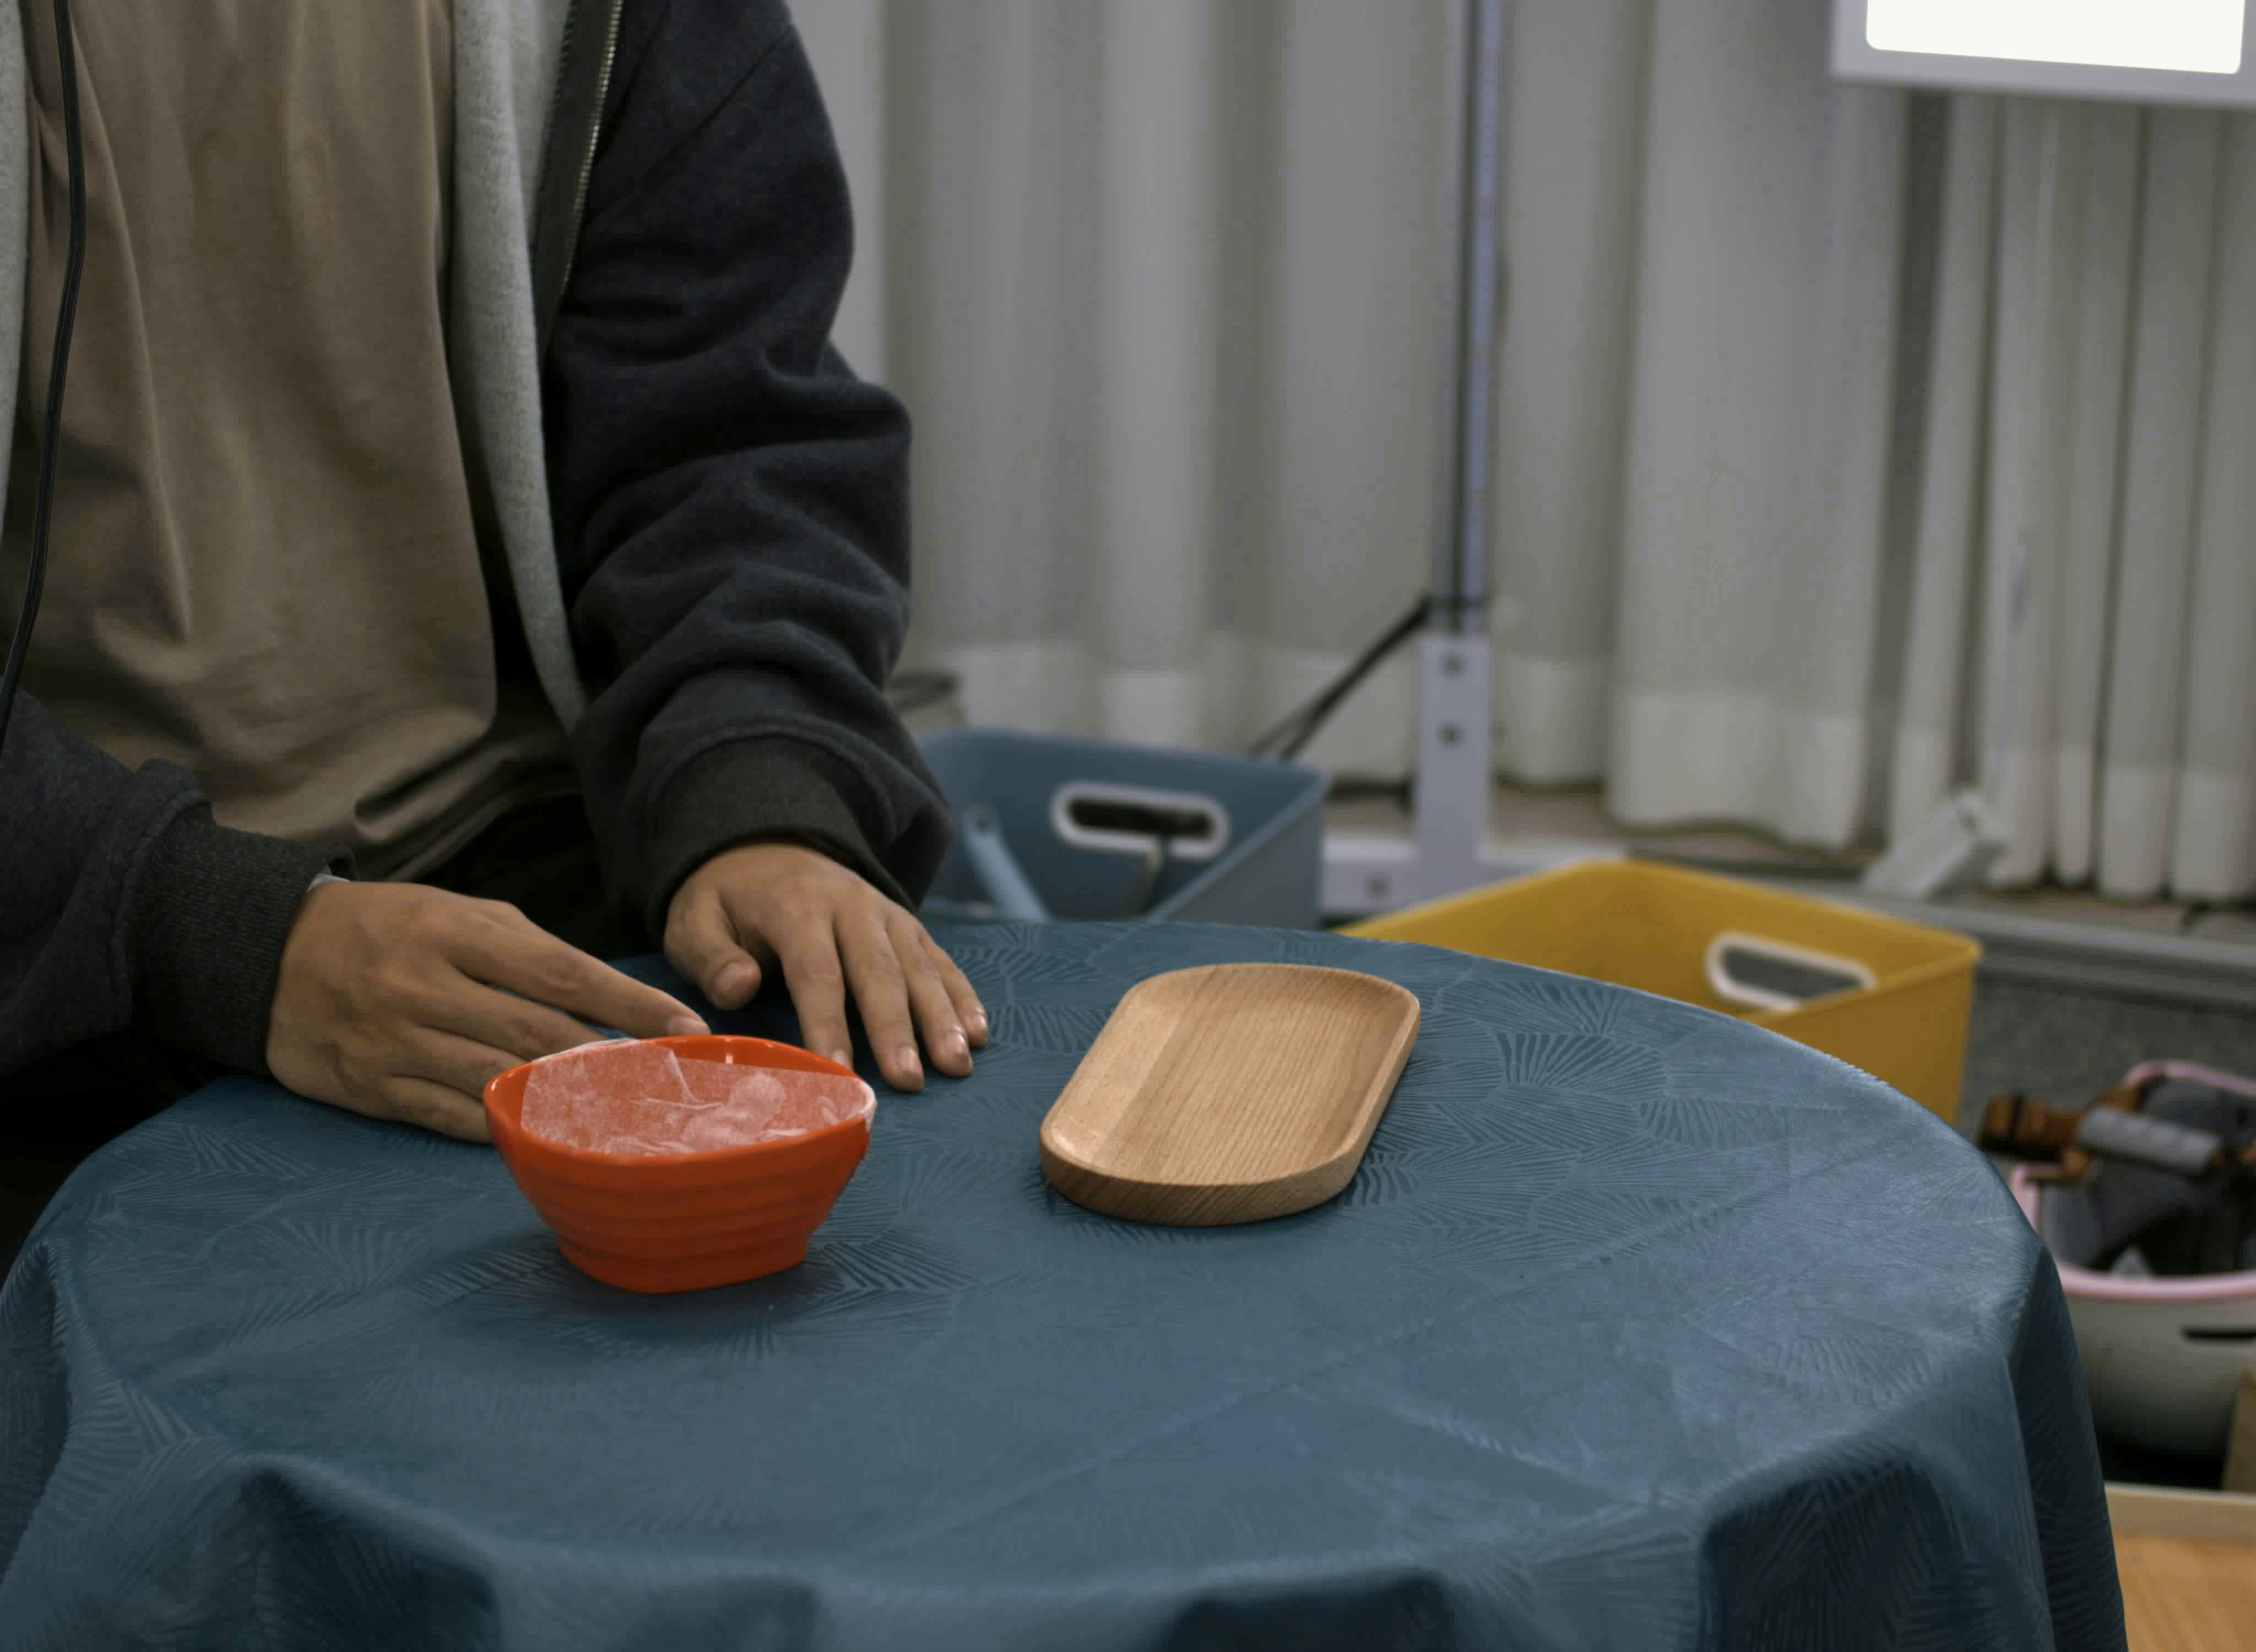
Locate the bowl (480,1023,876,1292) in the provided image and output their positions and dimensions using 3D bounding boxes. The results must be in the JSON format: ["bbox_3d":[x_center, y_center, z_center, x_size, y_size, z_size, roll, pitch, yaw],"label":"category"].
[{"bbox_3d":[-0.133,0.100,1.559,0.118,0.052,0.118,1,17,0],"label":"bowl"}]

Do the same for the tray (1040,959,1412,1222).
[{"bbox_3d":[0.034,0.083,1.699,0.101,0.020,0.230,4,15,9],"label":"tray"}]
